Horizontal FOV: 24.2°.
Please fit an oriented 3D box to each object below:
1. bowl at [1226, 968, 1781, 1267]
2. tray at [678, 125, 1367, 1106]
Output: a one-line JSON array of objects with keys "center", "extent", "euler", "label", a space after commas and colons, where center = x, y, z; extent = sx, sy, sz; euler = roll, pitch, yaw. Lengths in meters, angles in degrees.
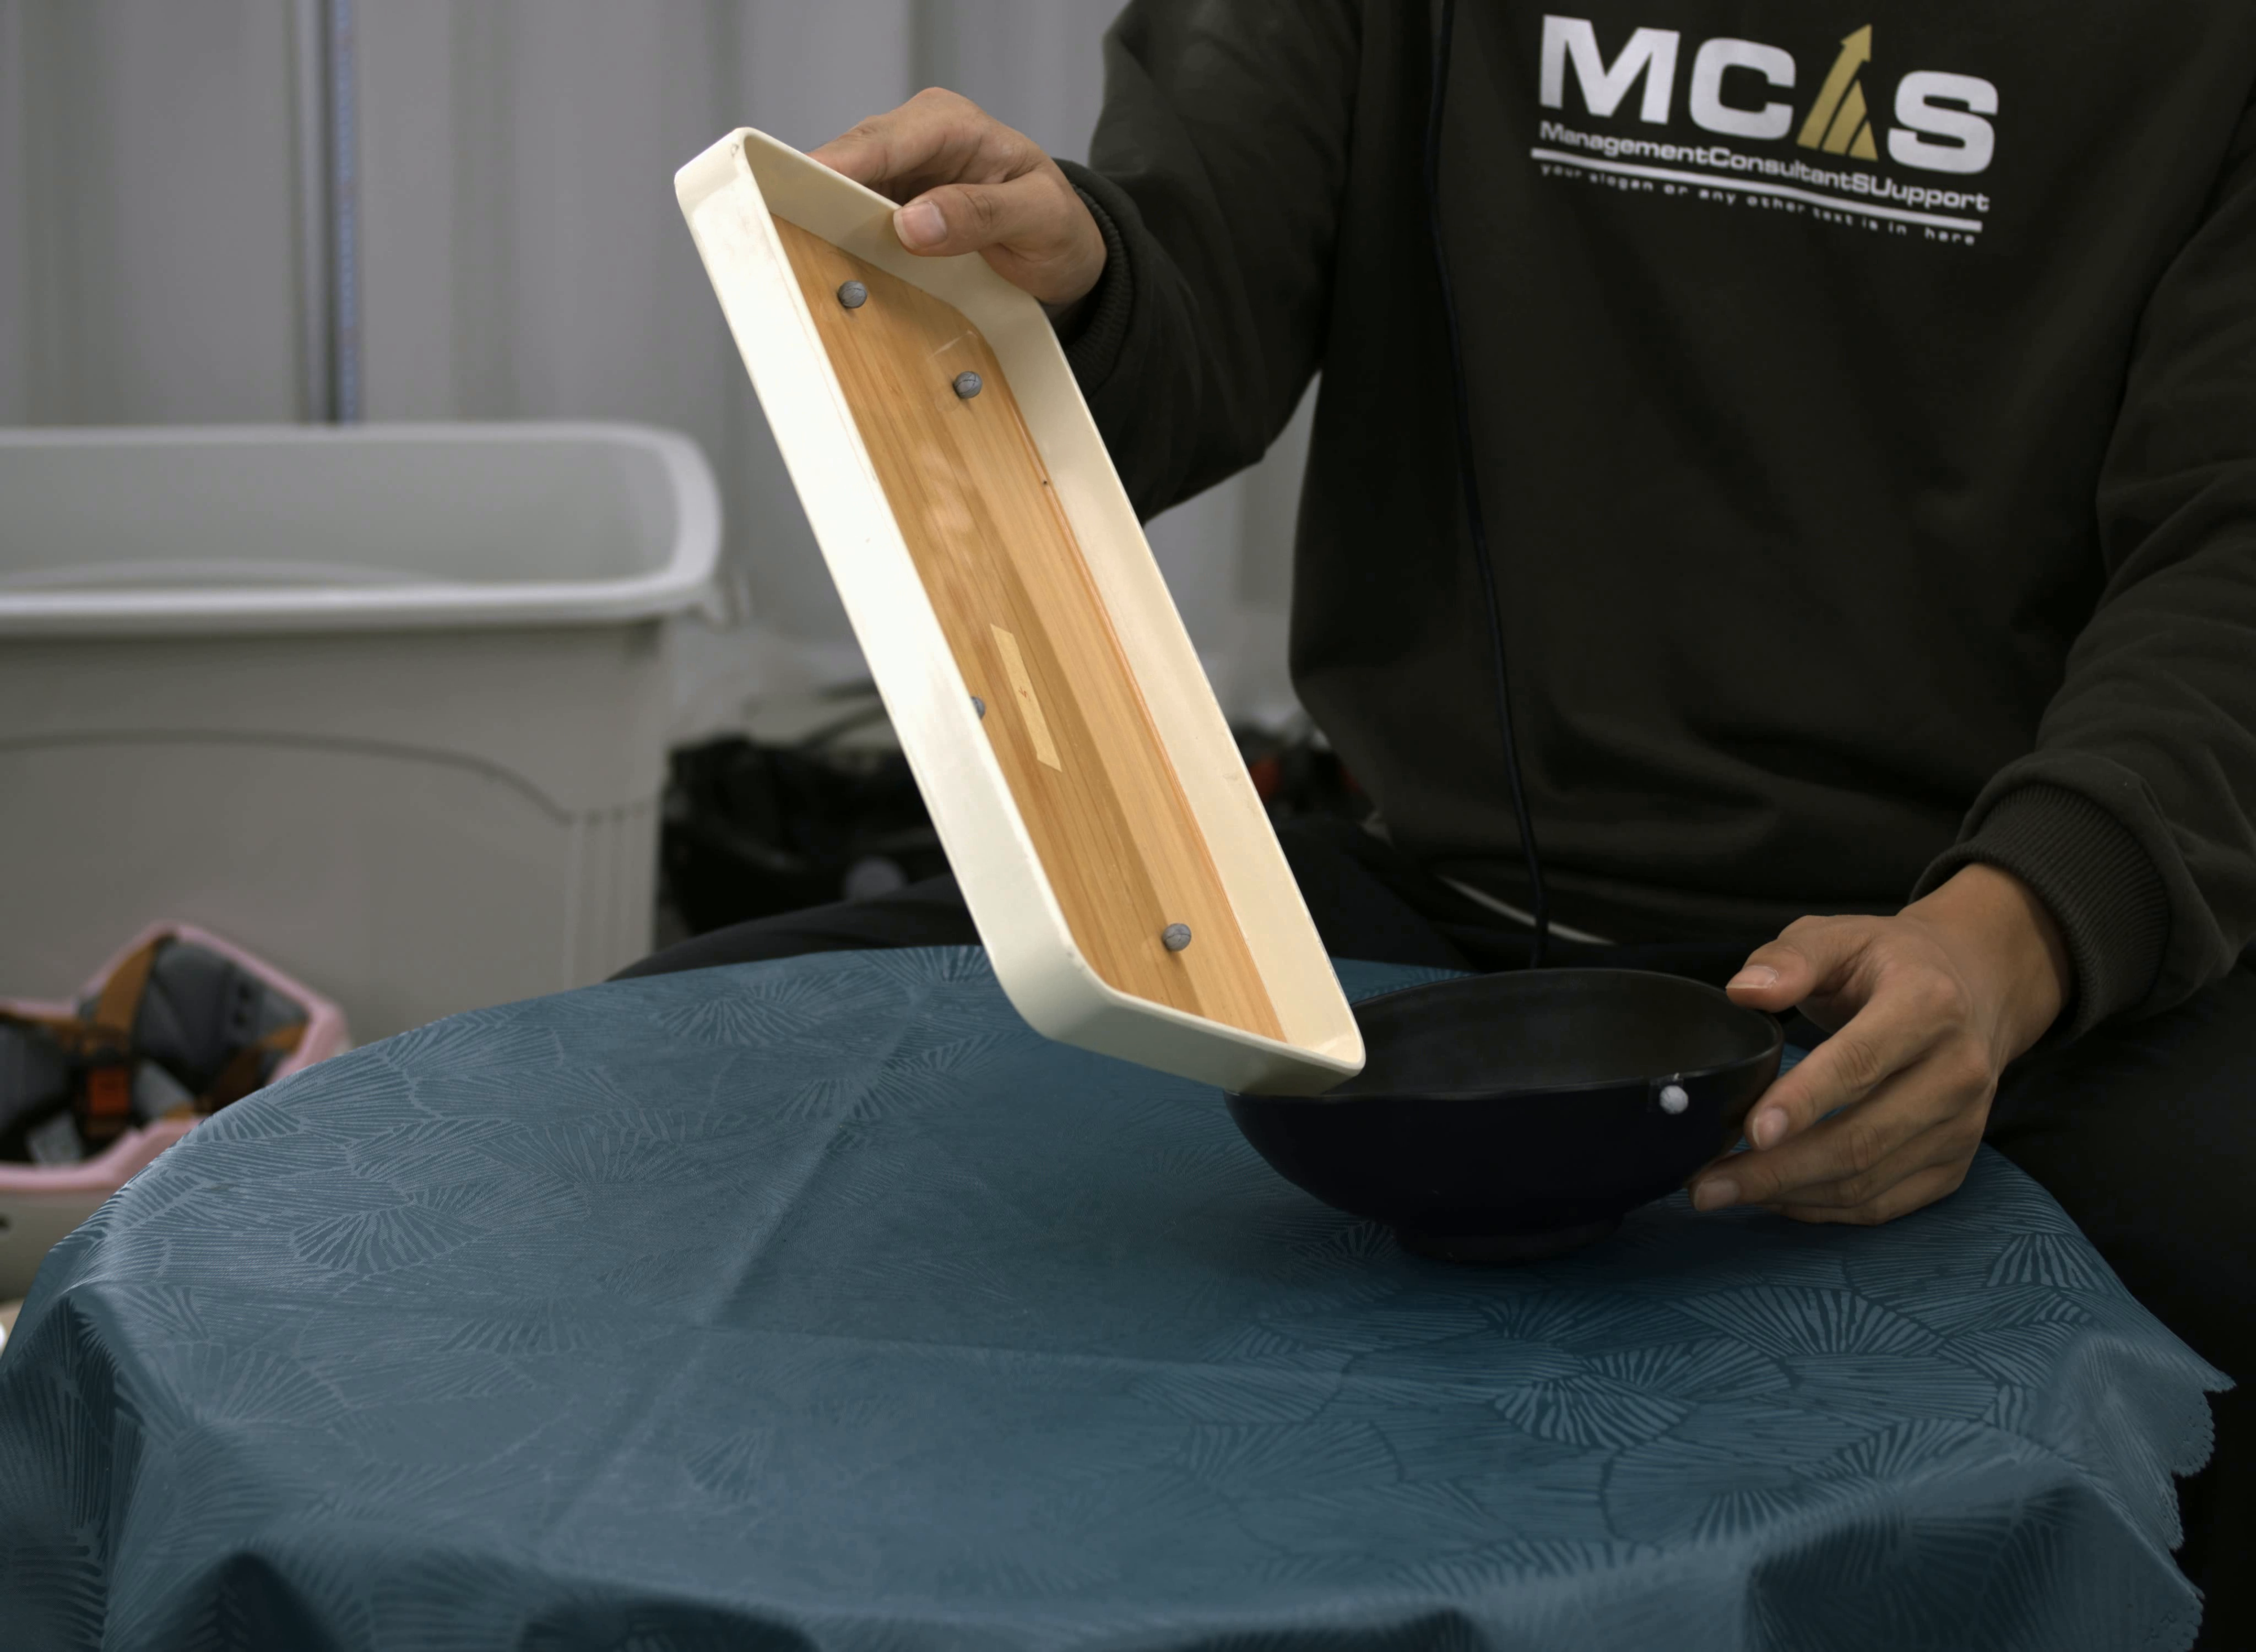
[{"center": [0.113, 0.092, 1.584], "extent": [0.169, 0.067, 0.137], "euler": [-4, 12, 11], "label": "bowl"}, {"center": [-0.031, -0.060, 1.579], "extent": [0.027, 0.298, 0.193], "euler": [-30, -22, 20], "label": "tray"}]
